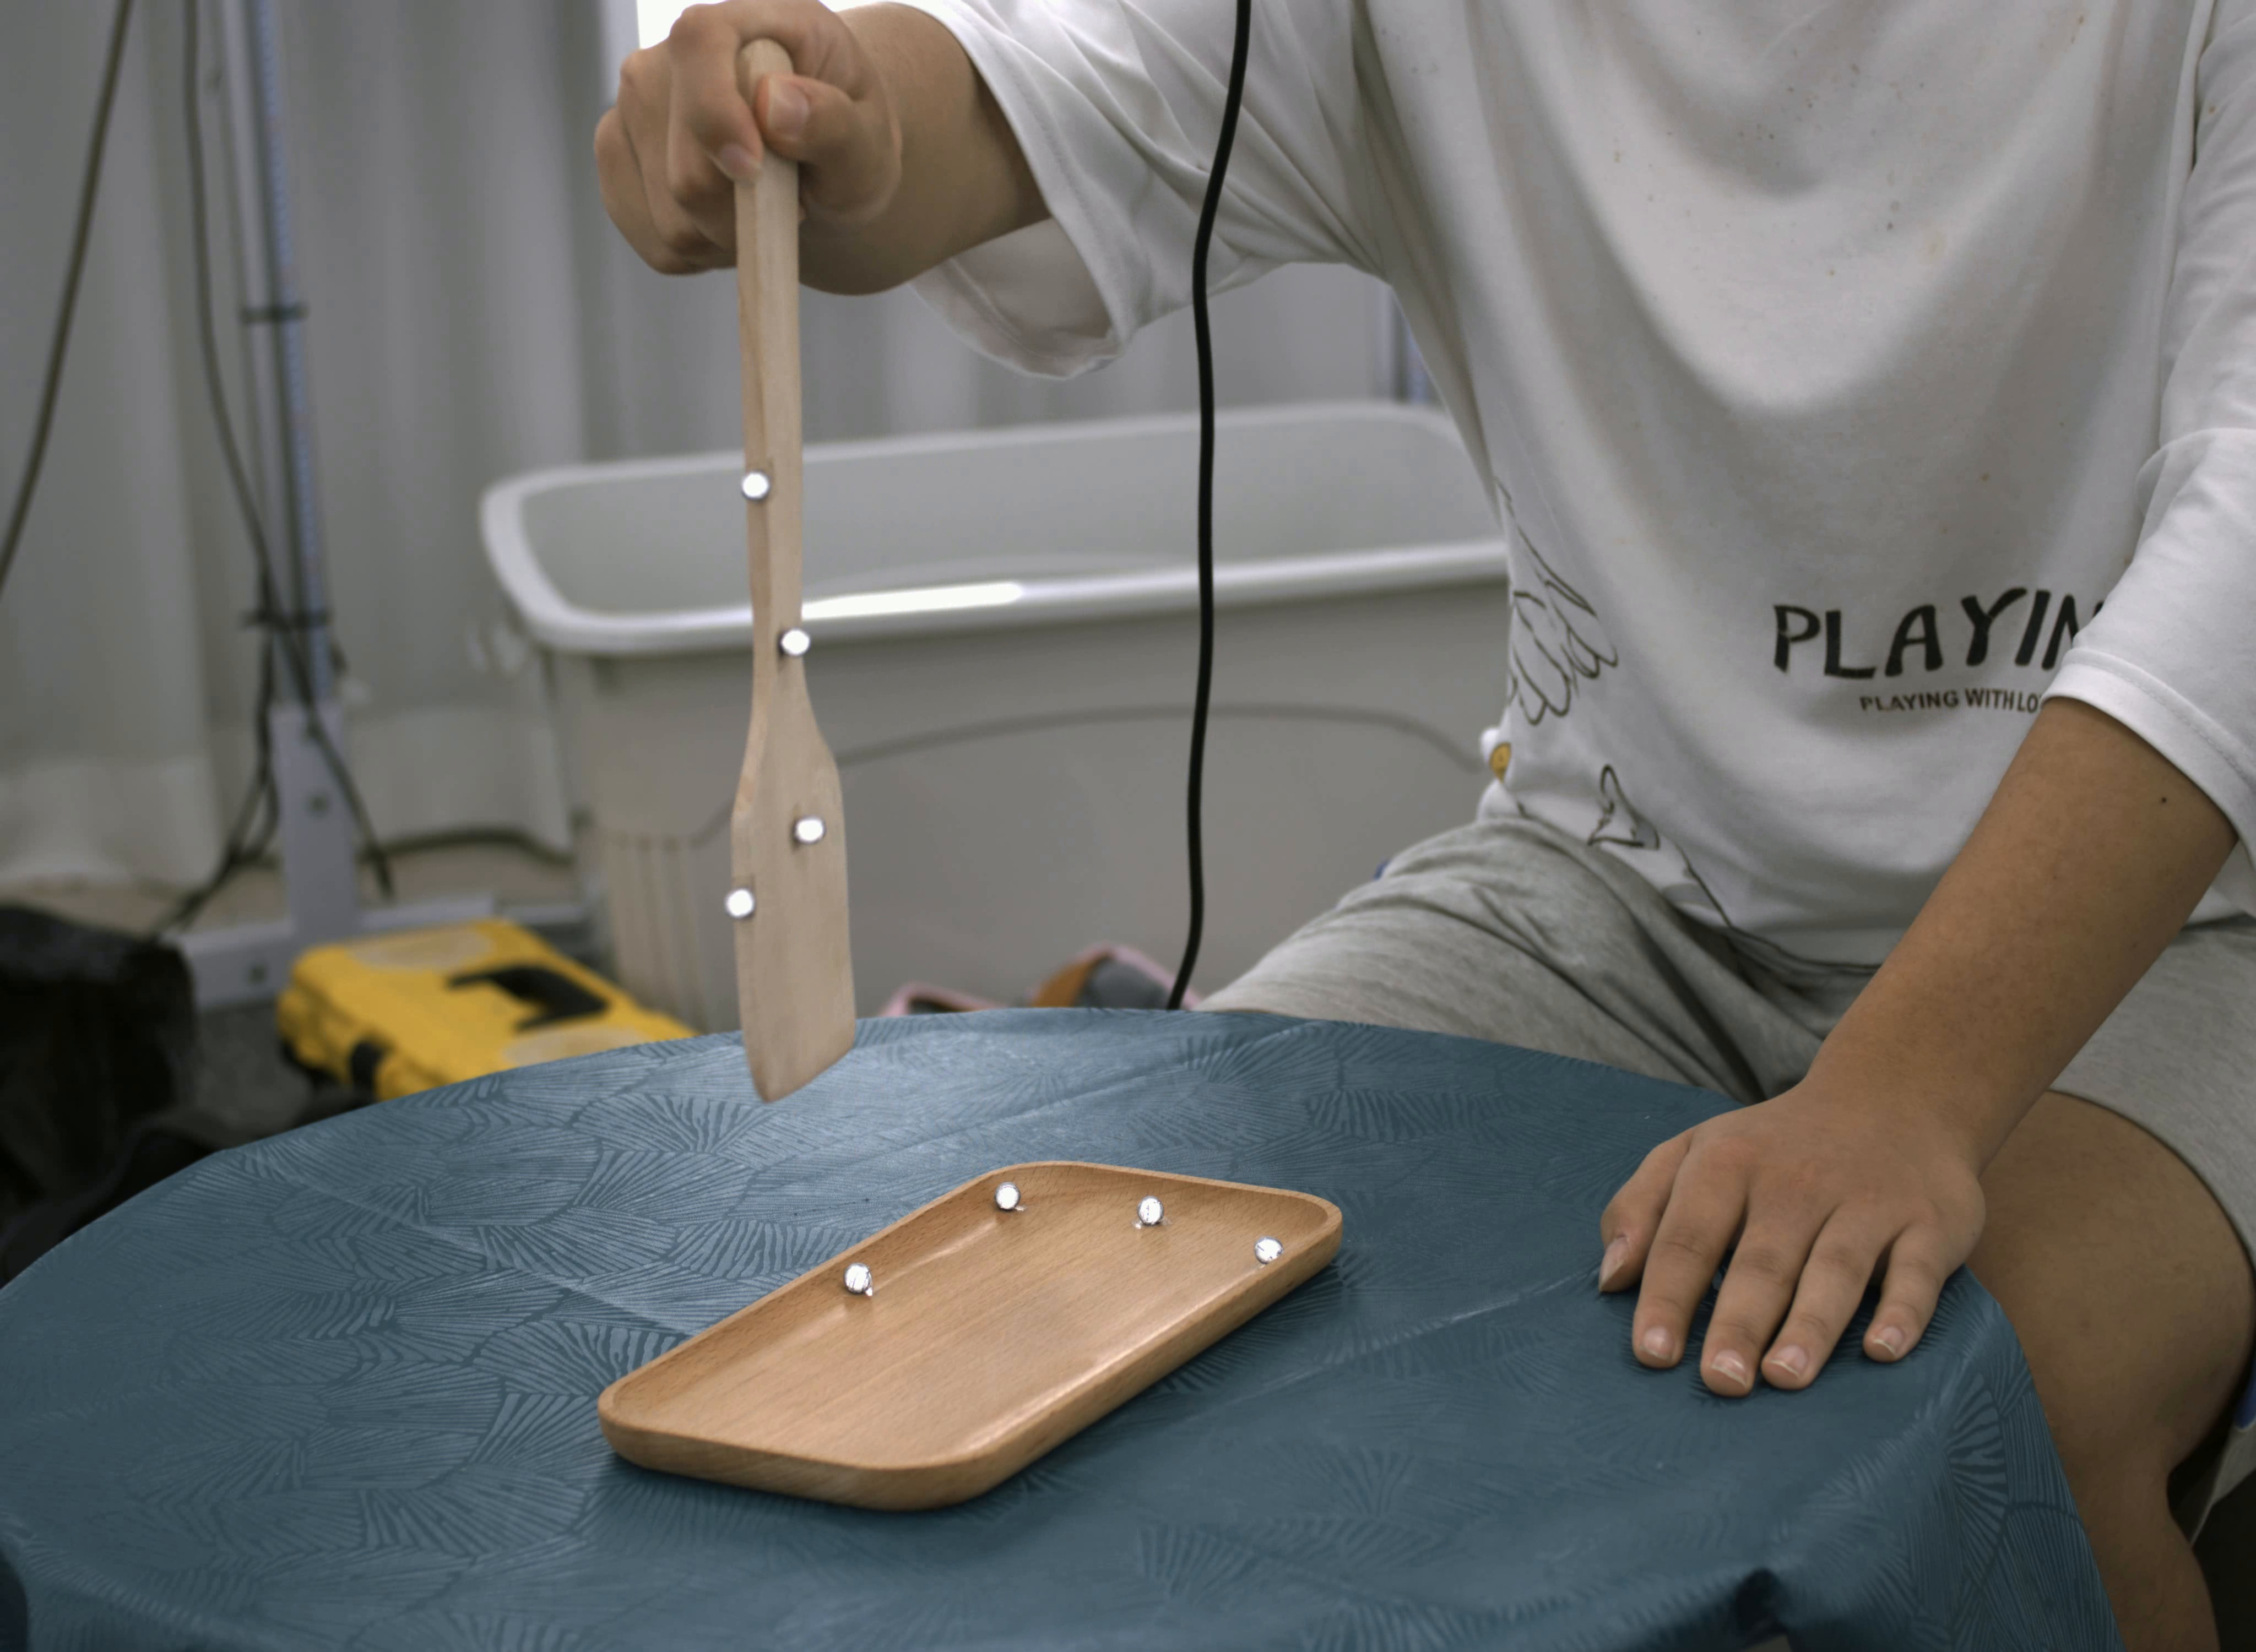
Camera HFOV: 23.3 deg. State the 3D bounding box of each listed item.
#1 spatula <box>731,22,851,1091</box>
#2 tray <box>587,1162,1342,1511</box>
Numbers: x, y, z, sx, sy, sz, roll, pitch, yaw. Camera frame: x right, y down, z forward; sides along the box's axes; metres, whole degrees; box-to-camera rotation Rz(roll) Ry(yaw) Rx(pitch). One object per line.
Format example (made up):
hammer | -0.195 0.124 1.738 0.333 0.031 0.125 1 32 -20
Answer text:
spatula | -0.096 -0.074 1.515 0.010 0.292 0.072 3 11 19
tray | -0.043 0.145 1.581 0.131 0.023 0.251 4 16 31
